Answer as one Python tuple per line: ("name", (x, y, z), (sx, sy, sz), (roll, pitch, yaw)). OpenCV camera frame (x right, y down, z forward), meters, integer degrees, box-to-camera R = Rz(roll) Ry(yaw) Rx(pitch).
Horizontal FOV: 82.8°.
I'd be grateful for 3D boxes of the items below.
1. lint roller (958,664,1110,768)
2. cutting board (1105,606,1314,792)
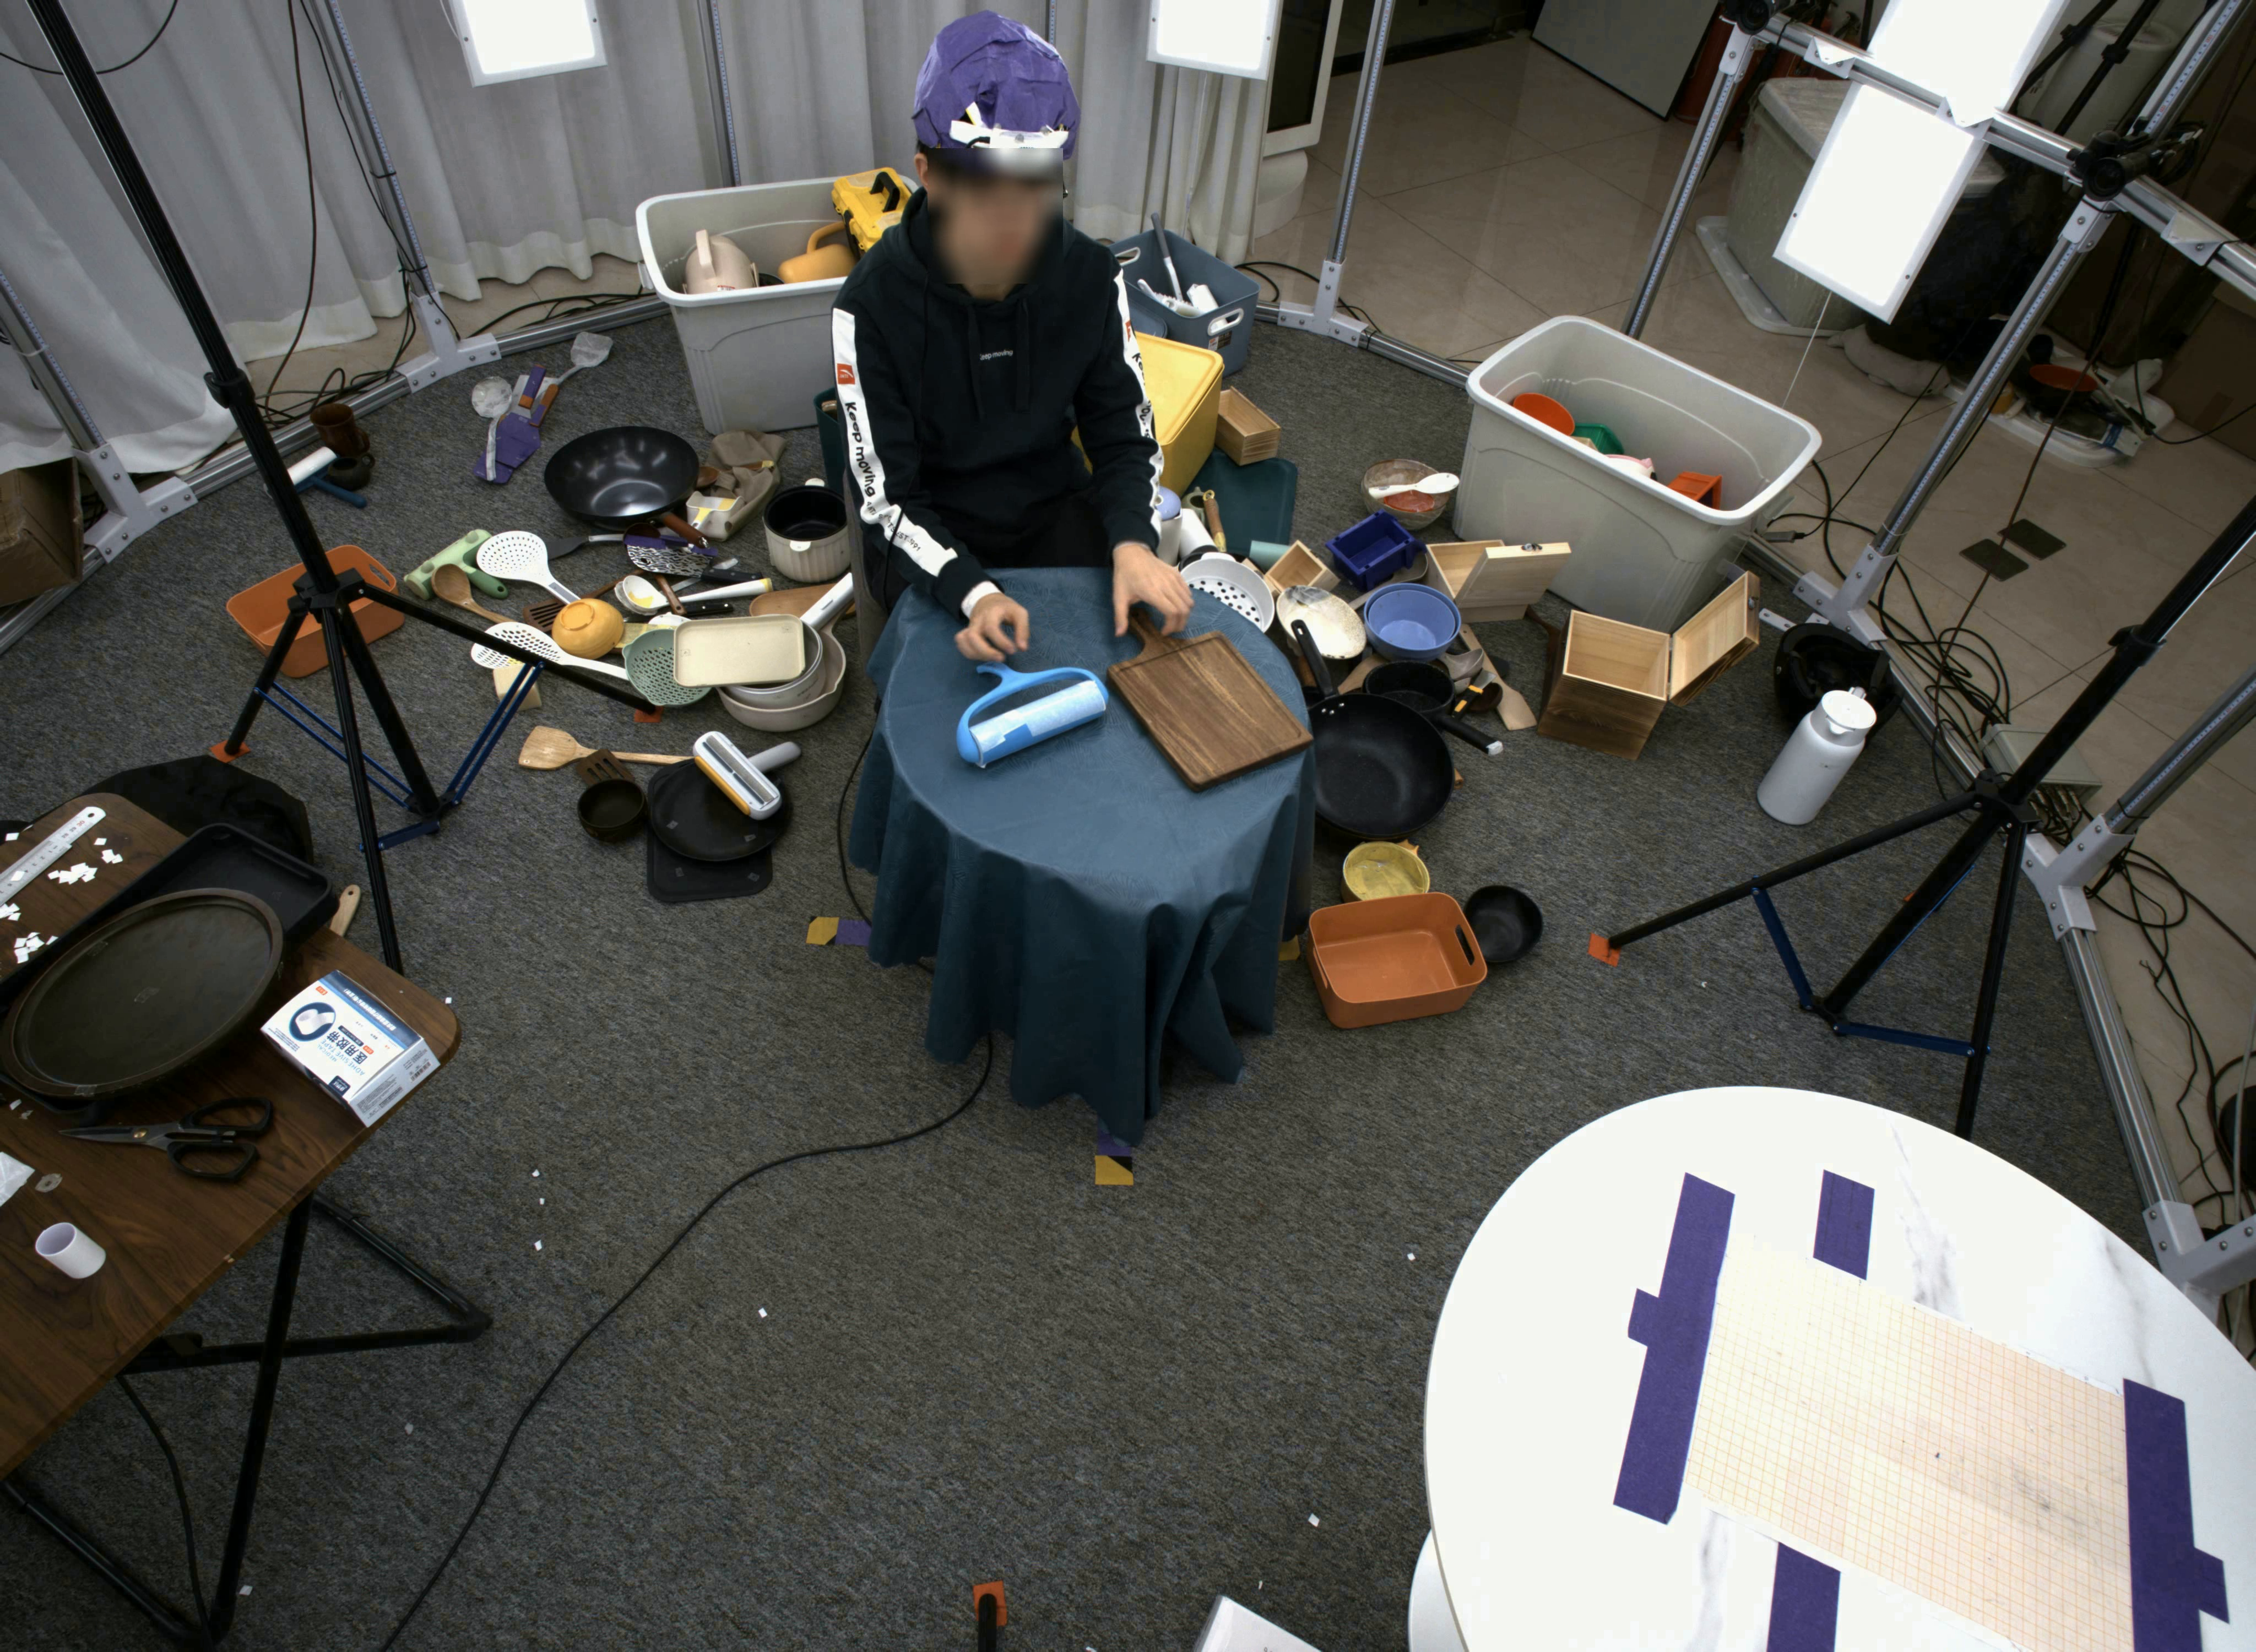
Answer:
("lint roller", (-0.159, -0.180, 1.777), (0.230, 0.066, 0.183), (-28, 57, -23))
("cutting board", (0.088, -0.202, 1.835), (0.201, 0.022, 0.359), (-21, 54, -21))
